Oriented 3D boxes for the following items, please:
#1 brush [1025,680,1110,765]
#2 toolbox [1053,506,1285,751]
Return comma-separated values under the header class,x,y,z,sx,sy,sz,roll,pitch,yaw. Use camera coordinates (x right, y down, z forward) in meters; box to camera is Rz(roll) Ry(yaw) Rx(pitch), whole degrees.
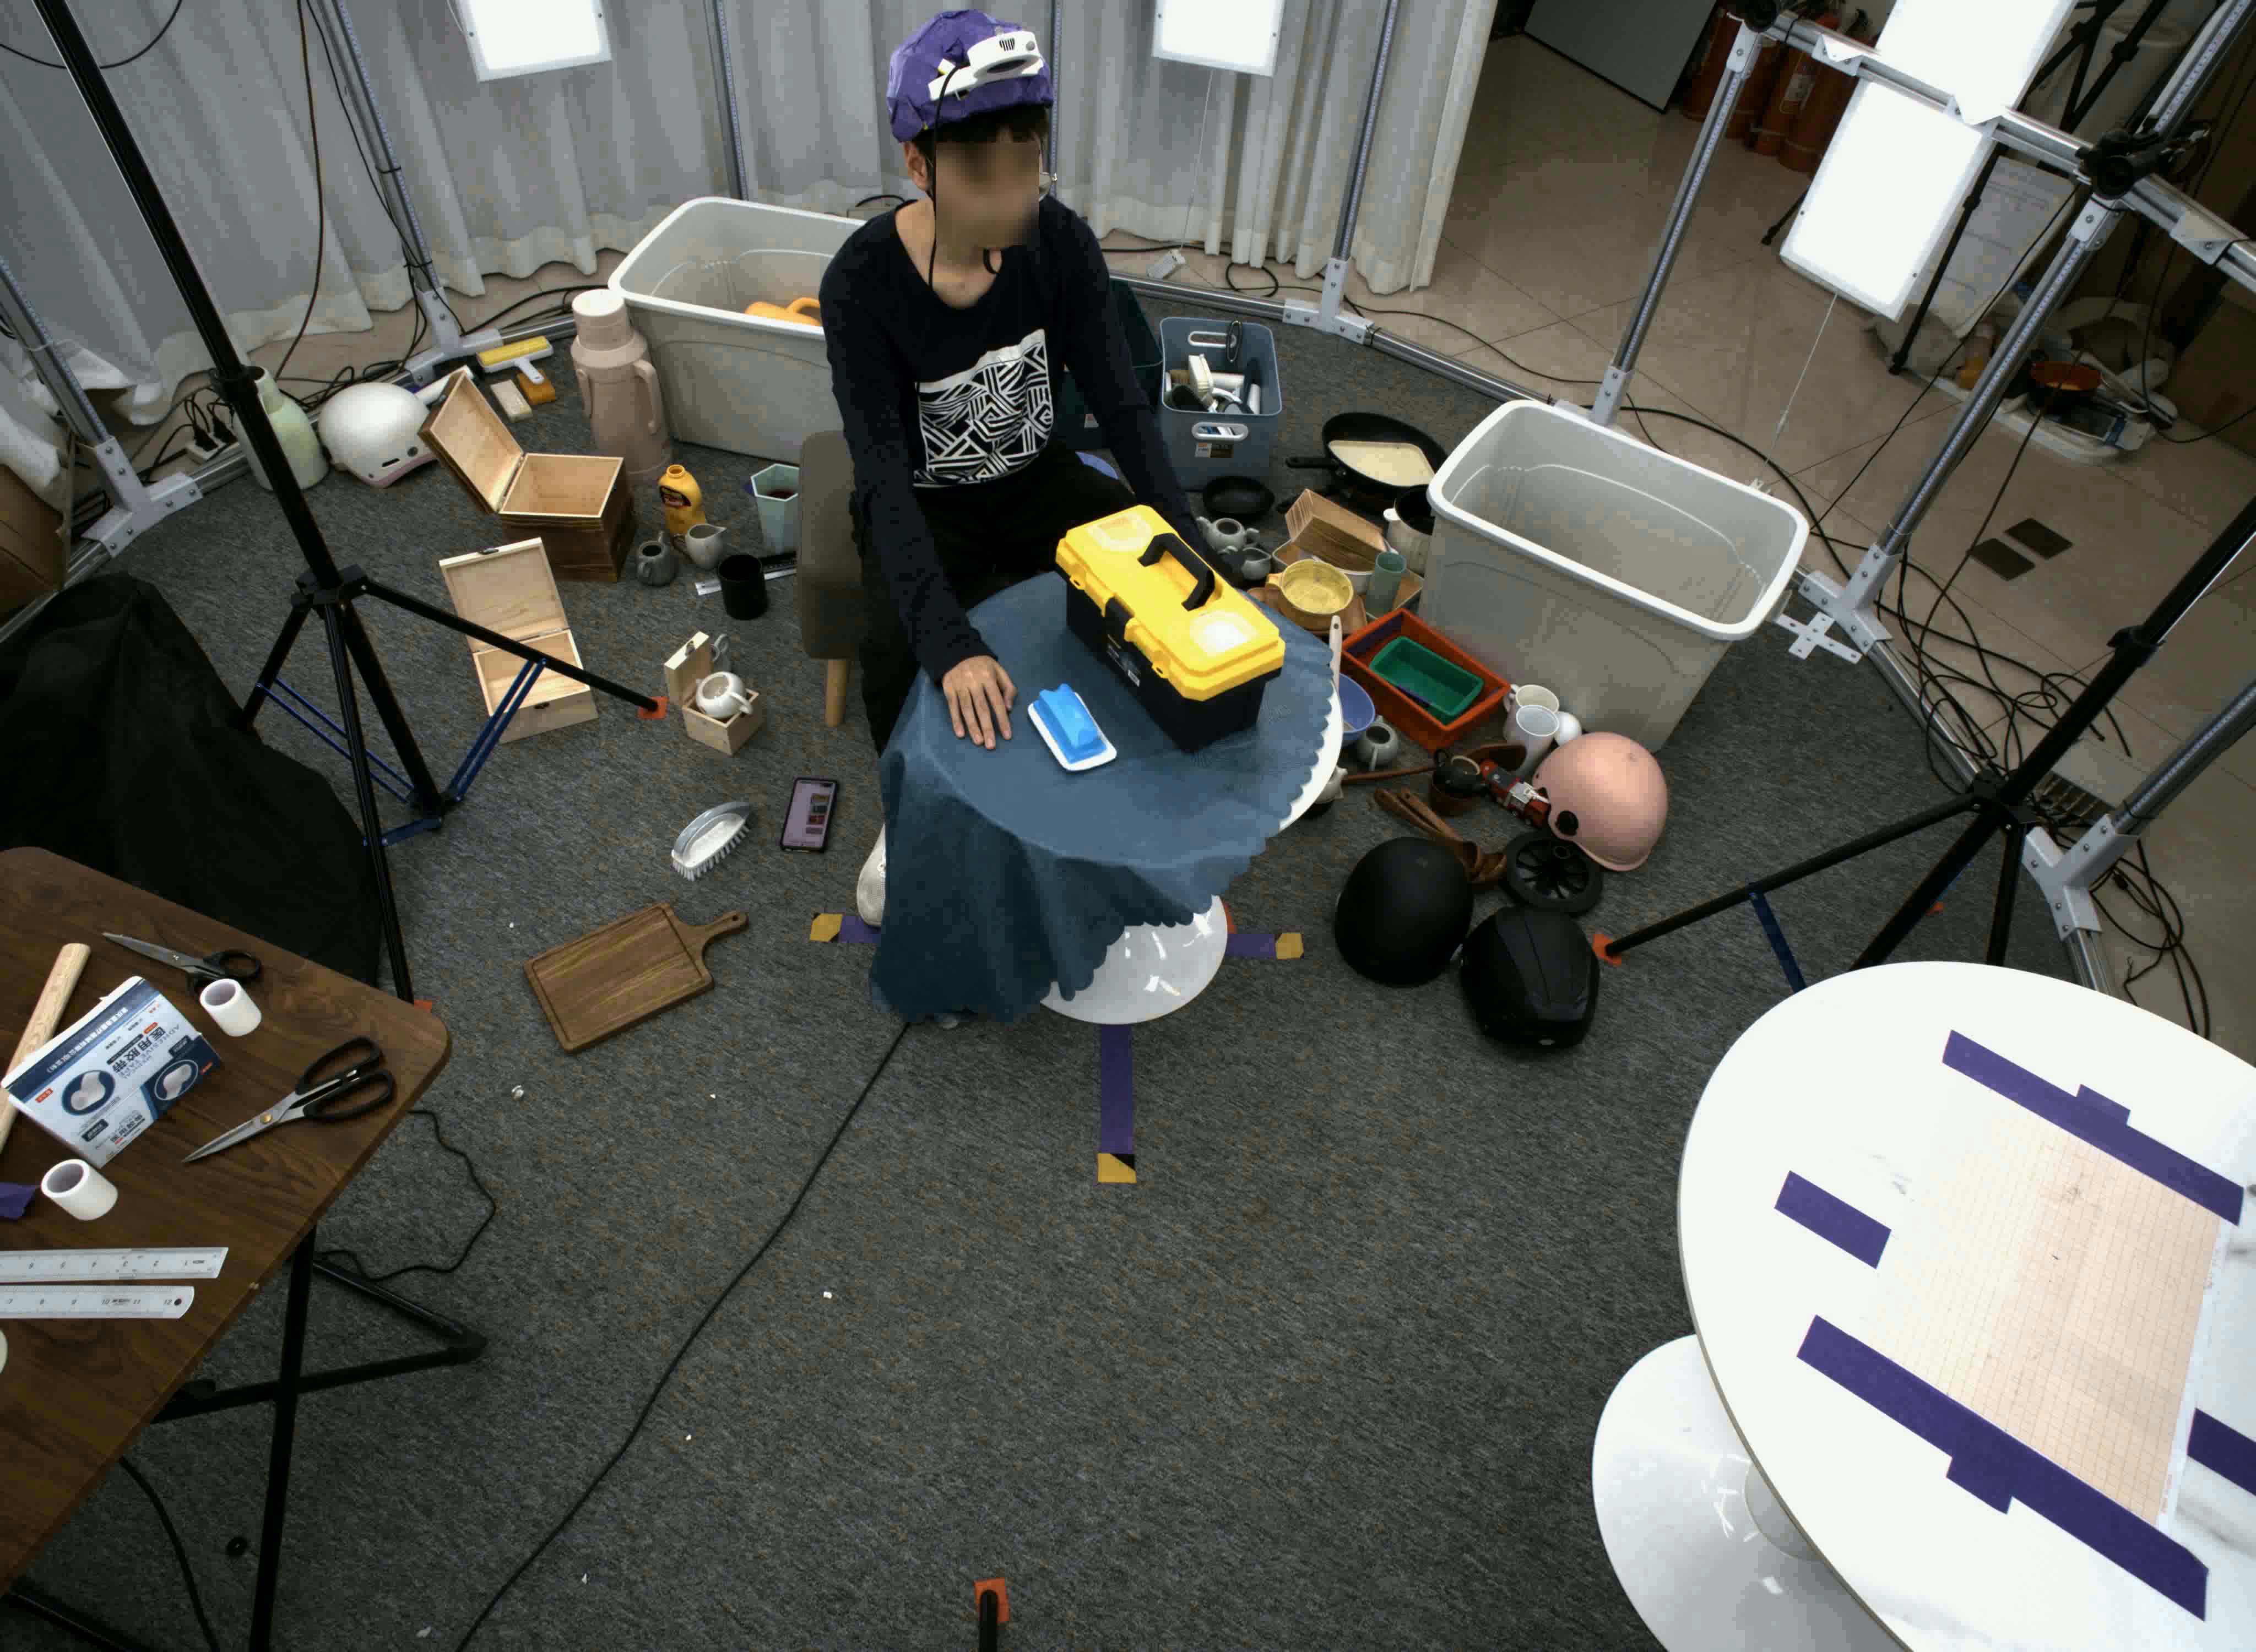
class,x,y,z,sx,sy,sz,roll,pitch,yaw
brush,-0.081,-0.149,1.752,0.084,0.054,0.147,-14,53,-20
toolbox,0.049,-0.278,1.800,0.182,0.168,0.358,-24,54,-23
